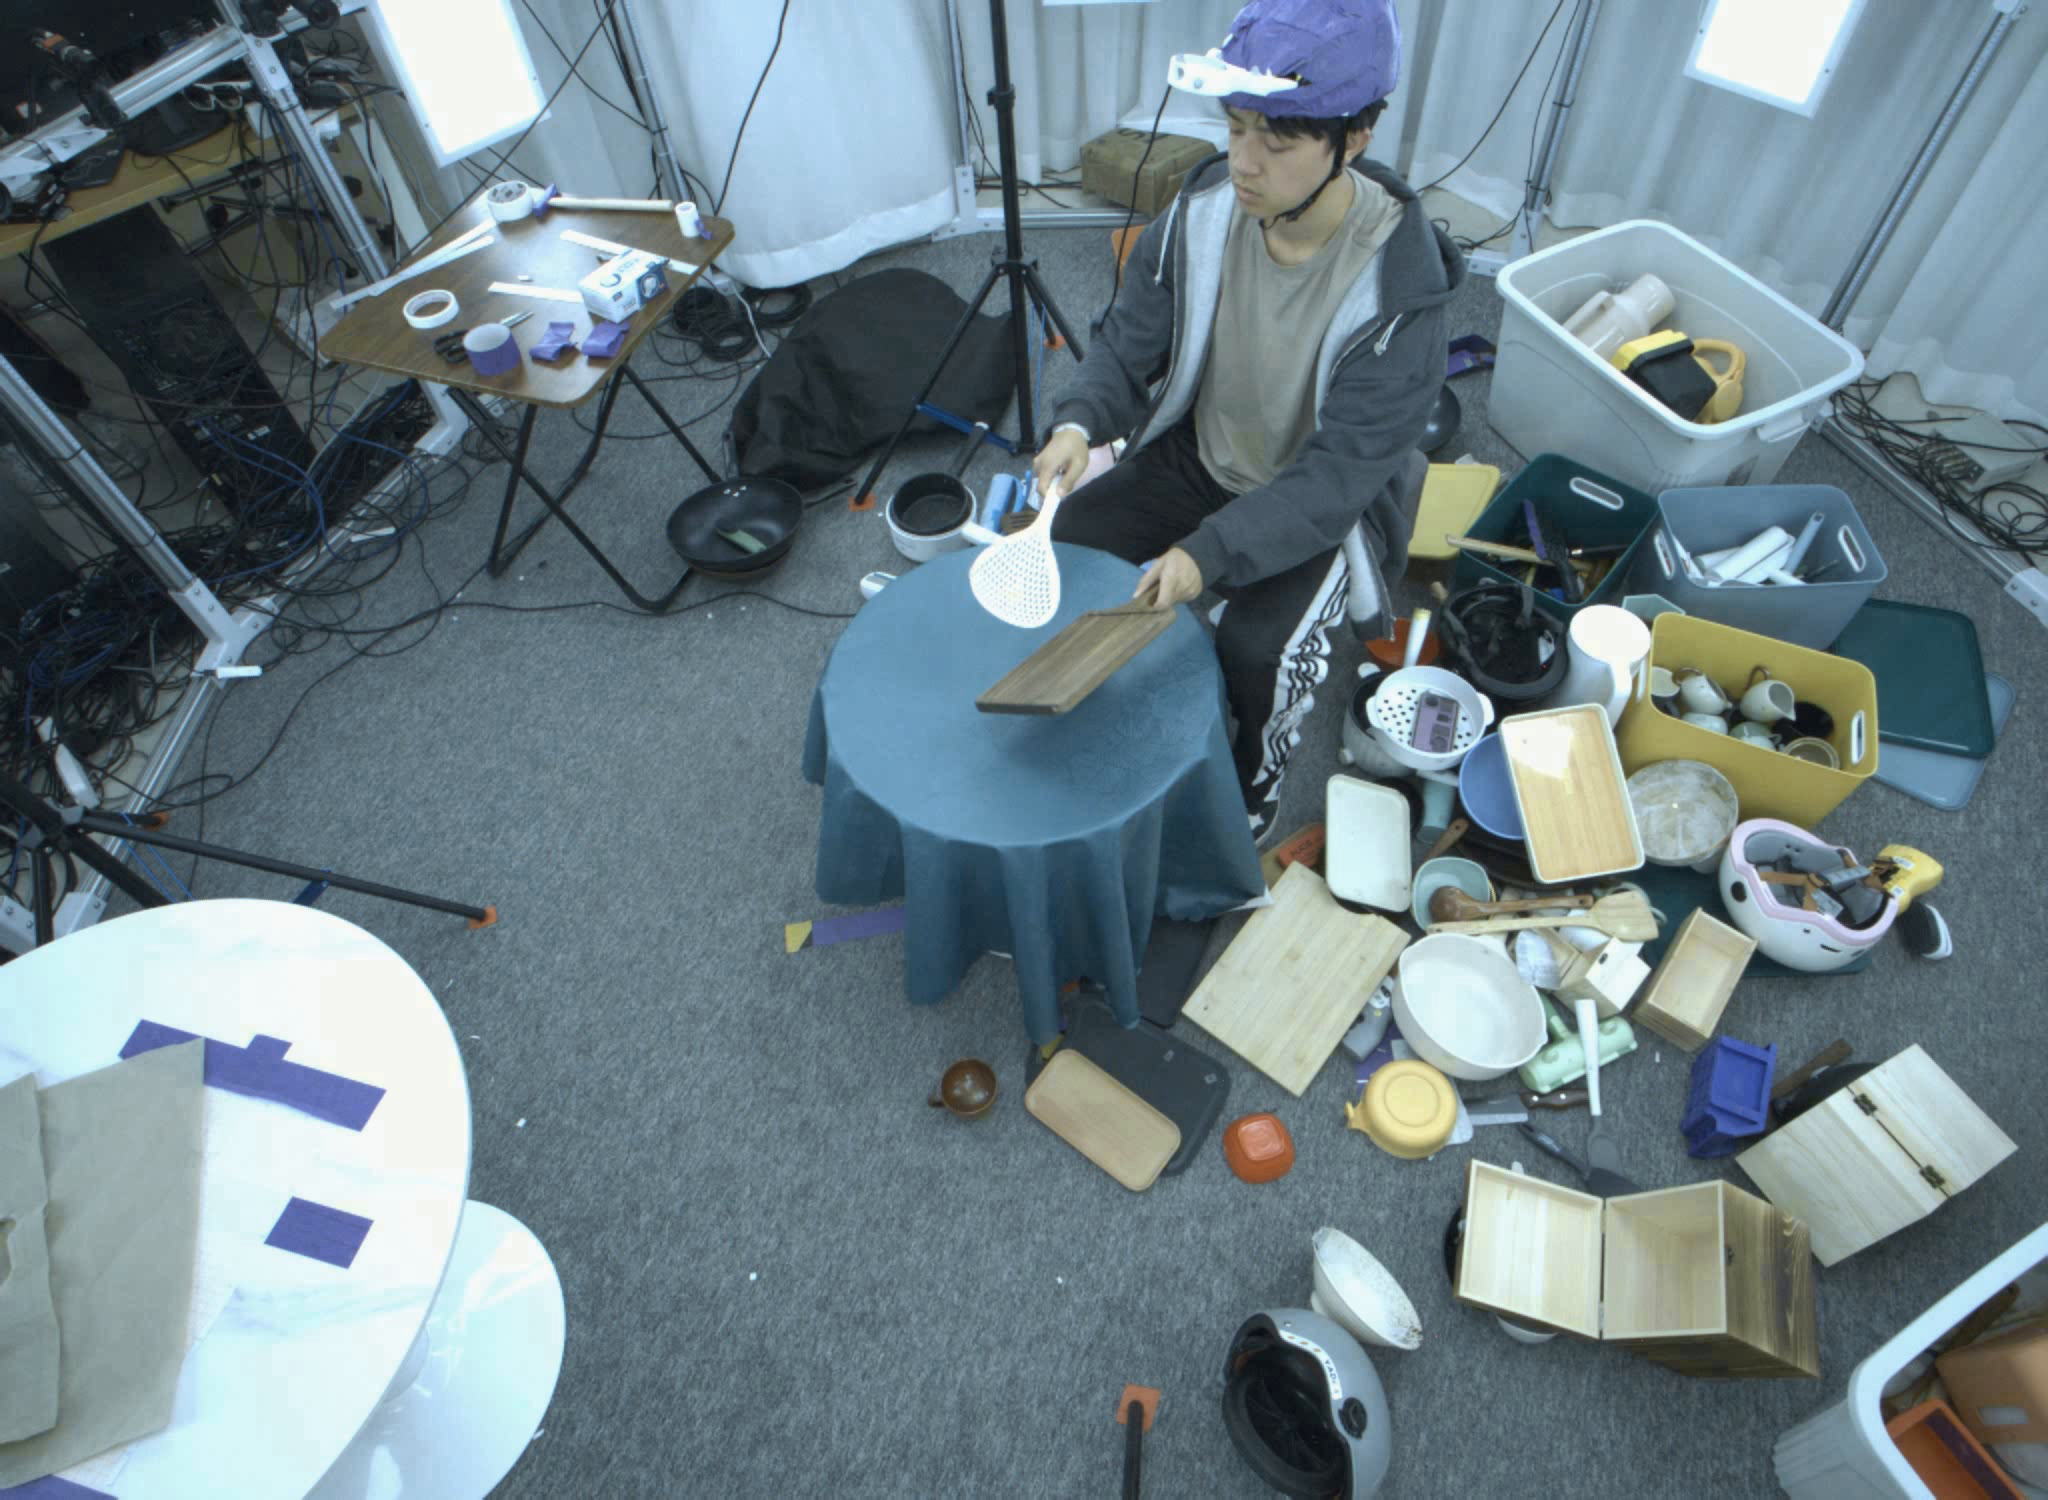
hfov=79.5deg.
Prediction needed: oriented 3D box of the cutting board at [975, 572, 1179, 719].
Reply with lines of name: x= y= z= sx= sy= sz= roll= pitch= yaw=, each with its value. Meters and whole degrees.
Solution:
cutting board: x=0.106 y=-0.154 z=1.743 sx=0.355 sy=0.023 sz=0.196 roll=-41 pitch=28 yaw=-29

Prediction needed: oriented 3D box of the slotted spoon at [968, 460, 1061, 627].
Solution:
slotted spoon: x=0.012 y=-0.318 z=1.820 sx=0.138 sy=0.050 sz=0.347 roll=25 pitch=61 yaw=-10
